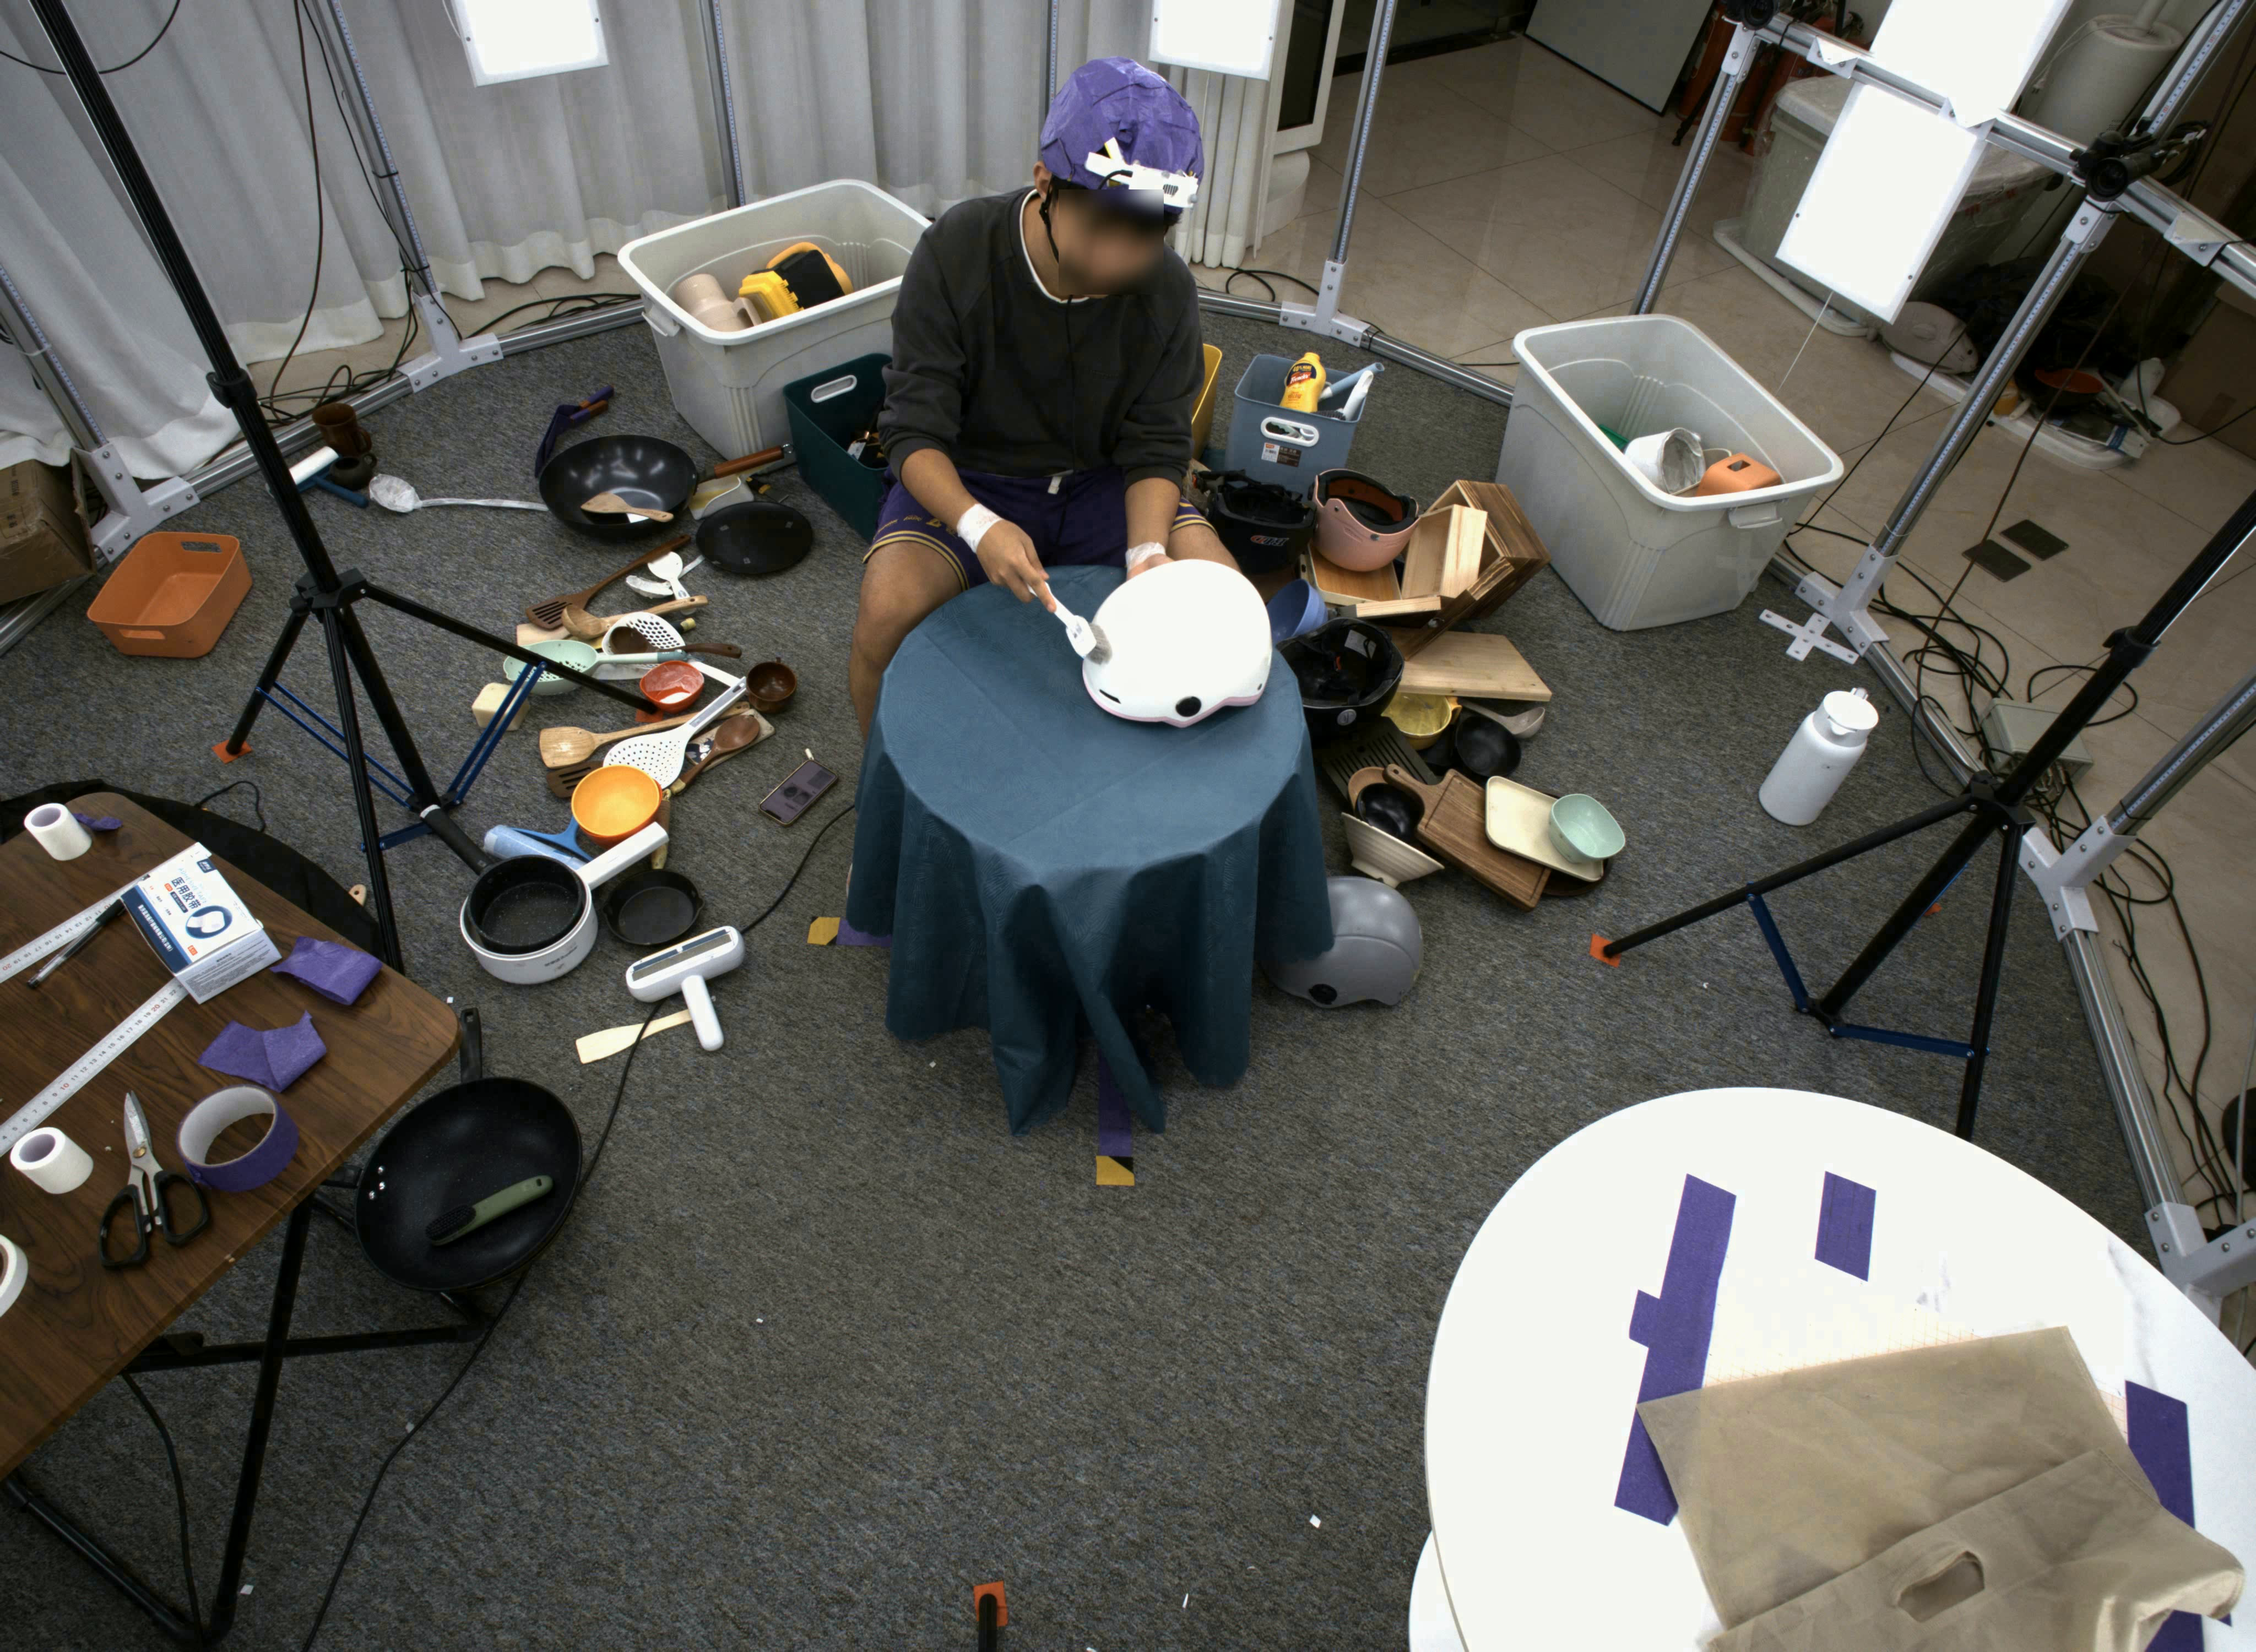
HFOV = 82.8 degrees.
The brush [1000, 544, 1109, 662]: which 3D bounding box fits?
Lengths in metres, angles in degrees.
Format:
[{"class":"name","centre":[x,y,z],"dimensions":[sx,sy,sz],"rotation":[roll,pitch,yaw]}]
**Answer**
[{"class":"brush","centre":[-0.101,-0.315,1.795],"dimensions":[0.050,0.034,0.248],"rotation":[2,40,-45]}]

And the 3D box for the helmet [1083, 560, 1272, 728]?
[{"class":"helmet","centre":[0.074,-0.271,1.797],"dimensions":[0.268,0.163,0.243],"rotation":[-10,53,-13]}]
